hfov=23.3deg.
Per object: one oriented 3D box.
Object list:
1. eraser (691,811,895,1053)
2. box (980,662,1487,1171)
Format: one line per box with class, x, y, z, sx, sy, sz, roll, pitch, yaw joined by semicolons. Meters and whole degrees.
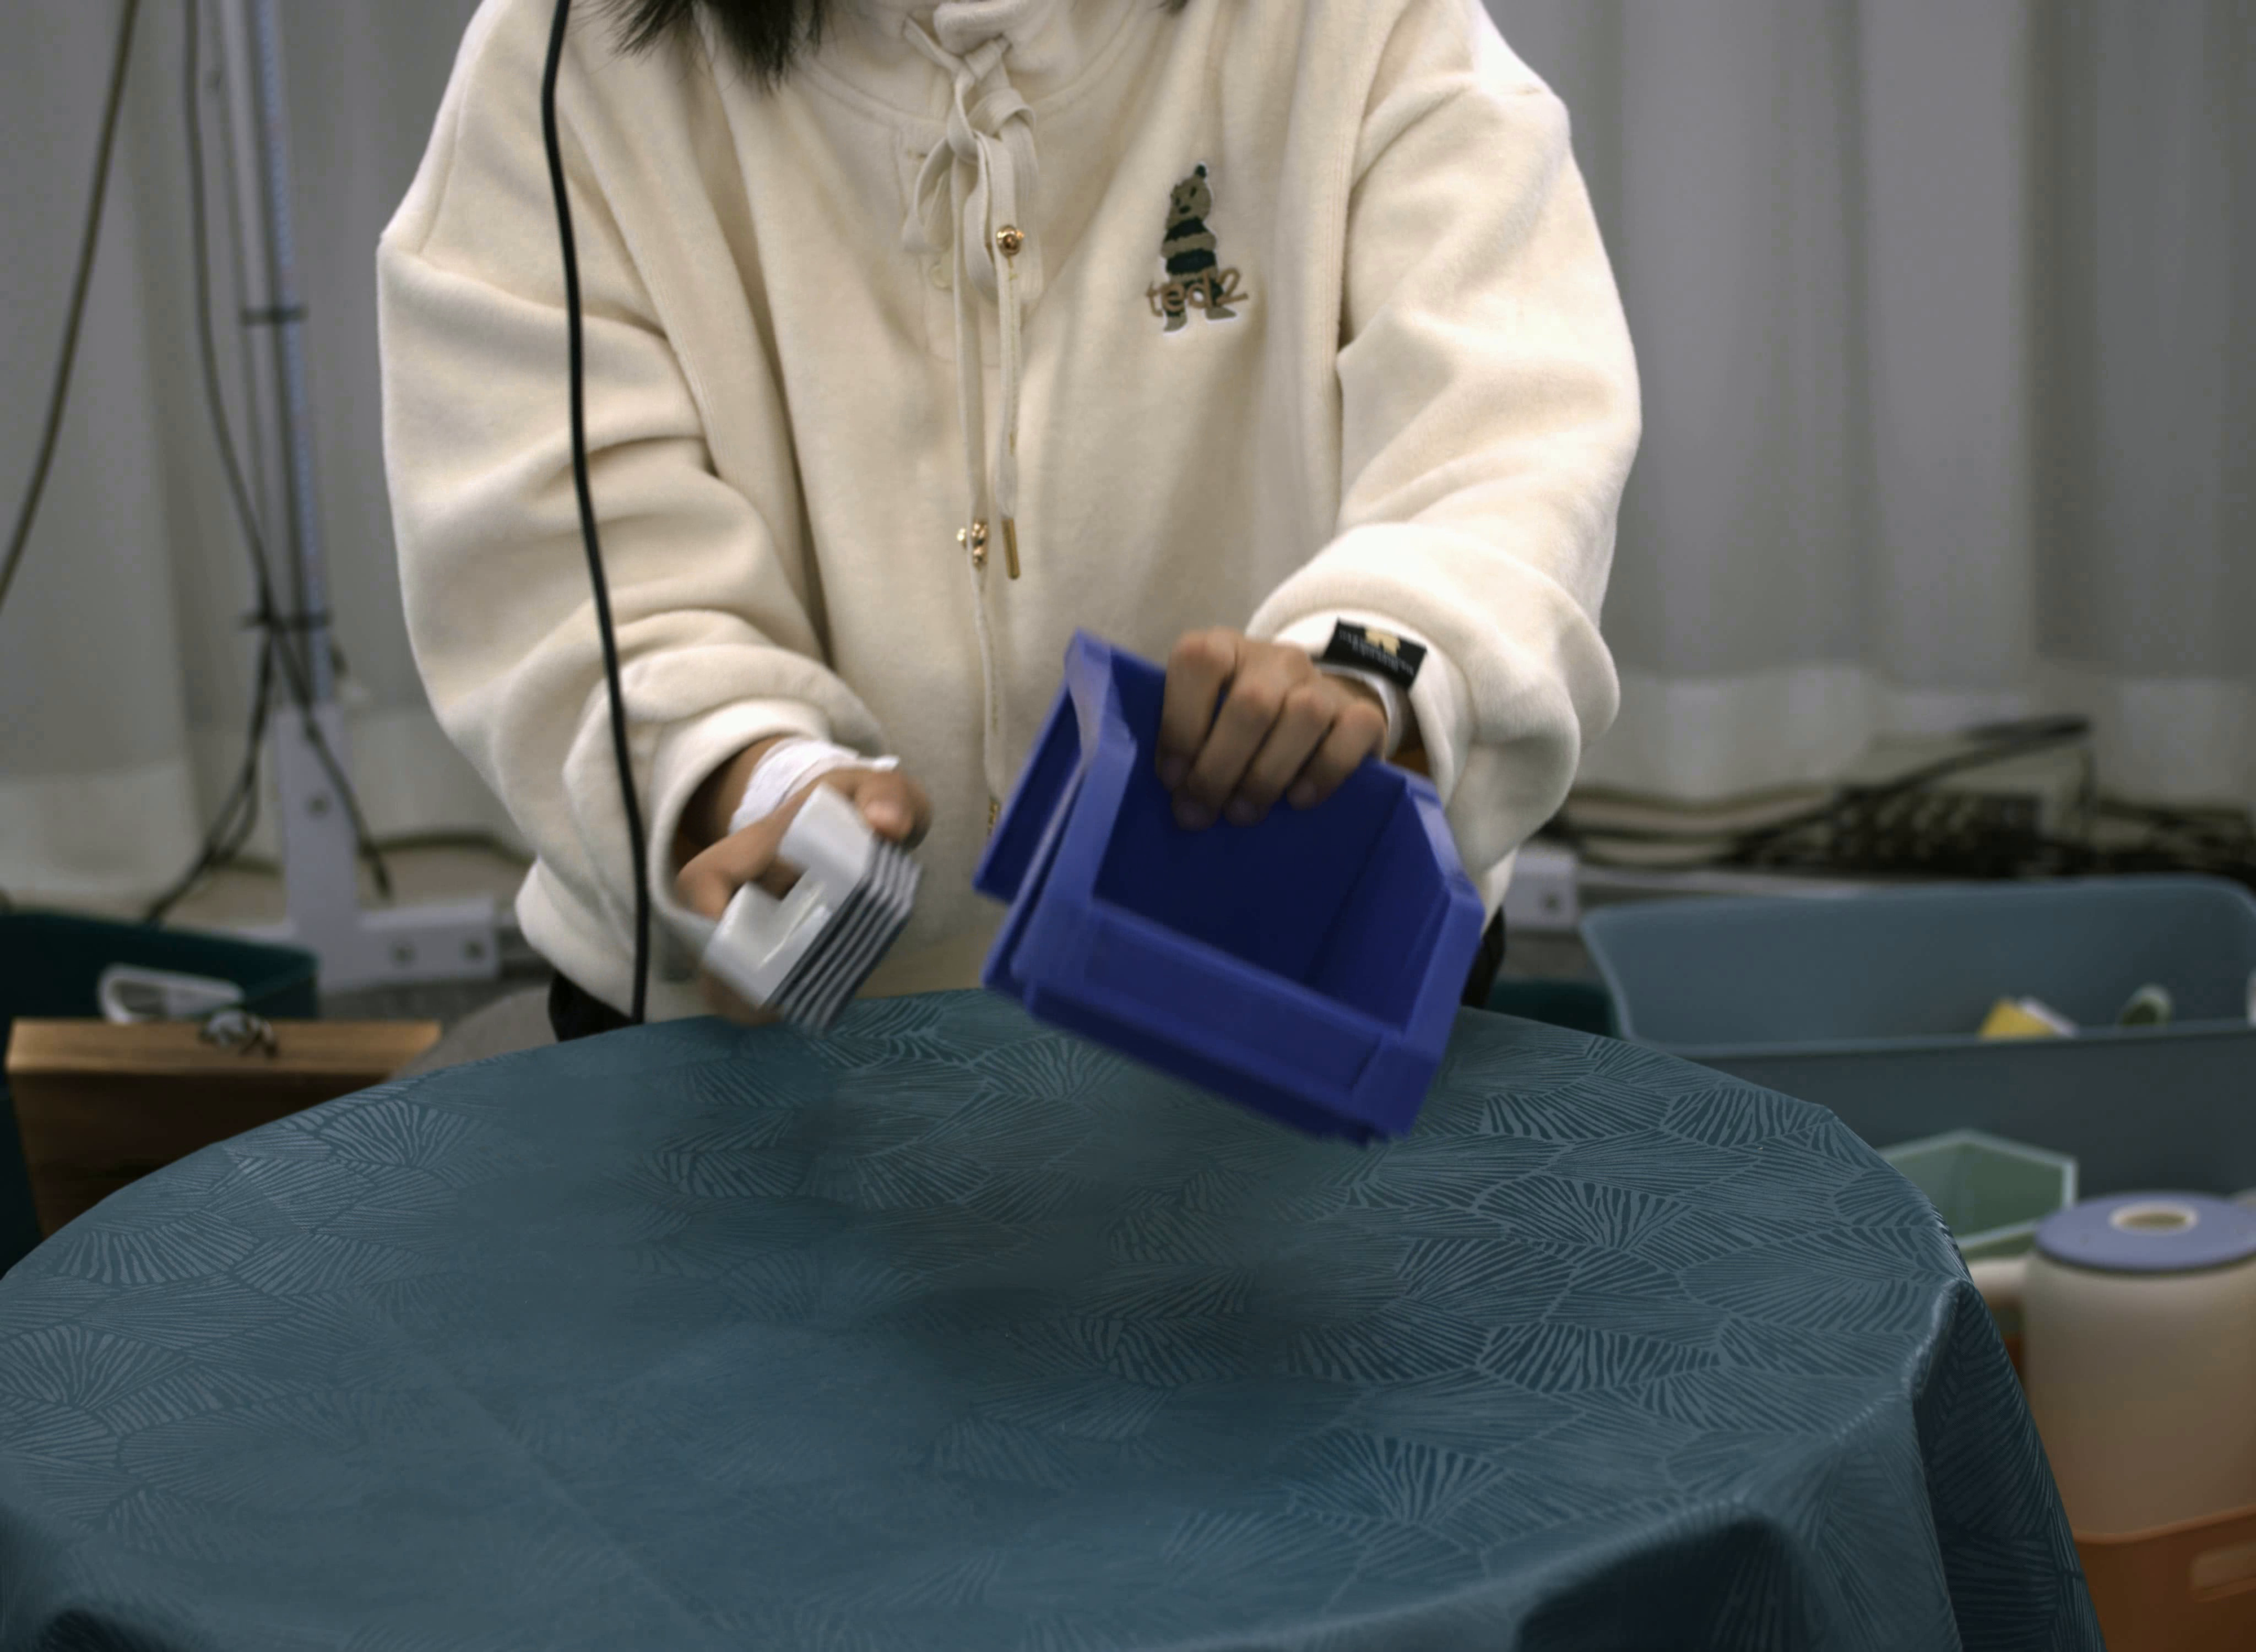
eraser;-0.102;0.032;1.690;0.046;0.050;0.134;37;2;-6
box;0.030;0.029;1.565;0.124;0.082;0.180;23;10;-6
